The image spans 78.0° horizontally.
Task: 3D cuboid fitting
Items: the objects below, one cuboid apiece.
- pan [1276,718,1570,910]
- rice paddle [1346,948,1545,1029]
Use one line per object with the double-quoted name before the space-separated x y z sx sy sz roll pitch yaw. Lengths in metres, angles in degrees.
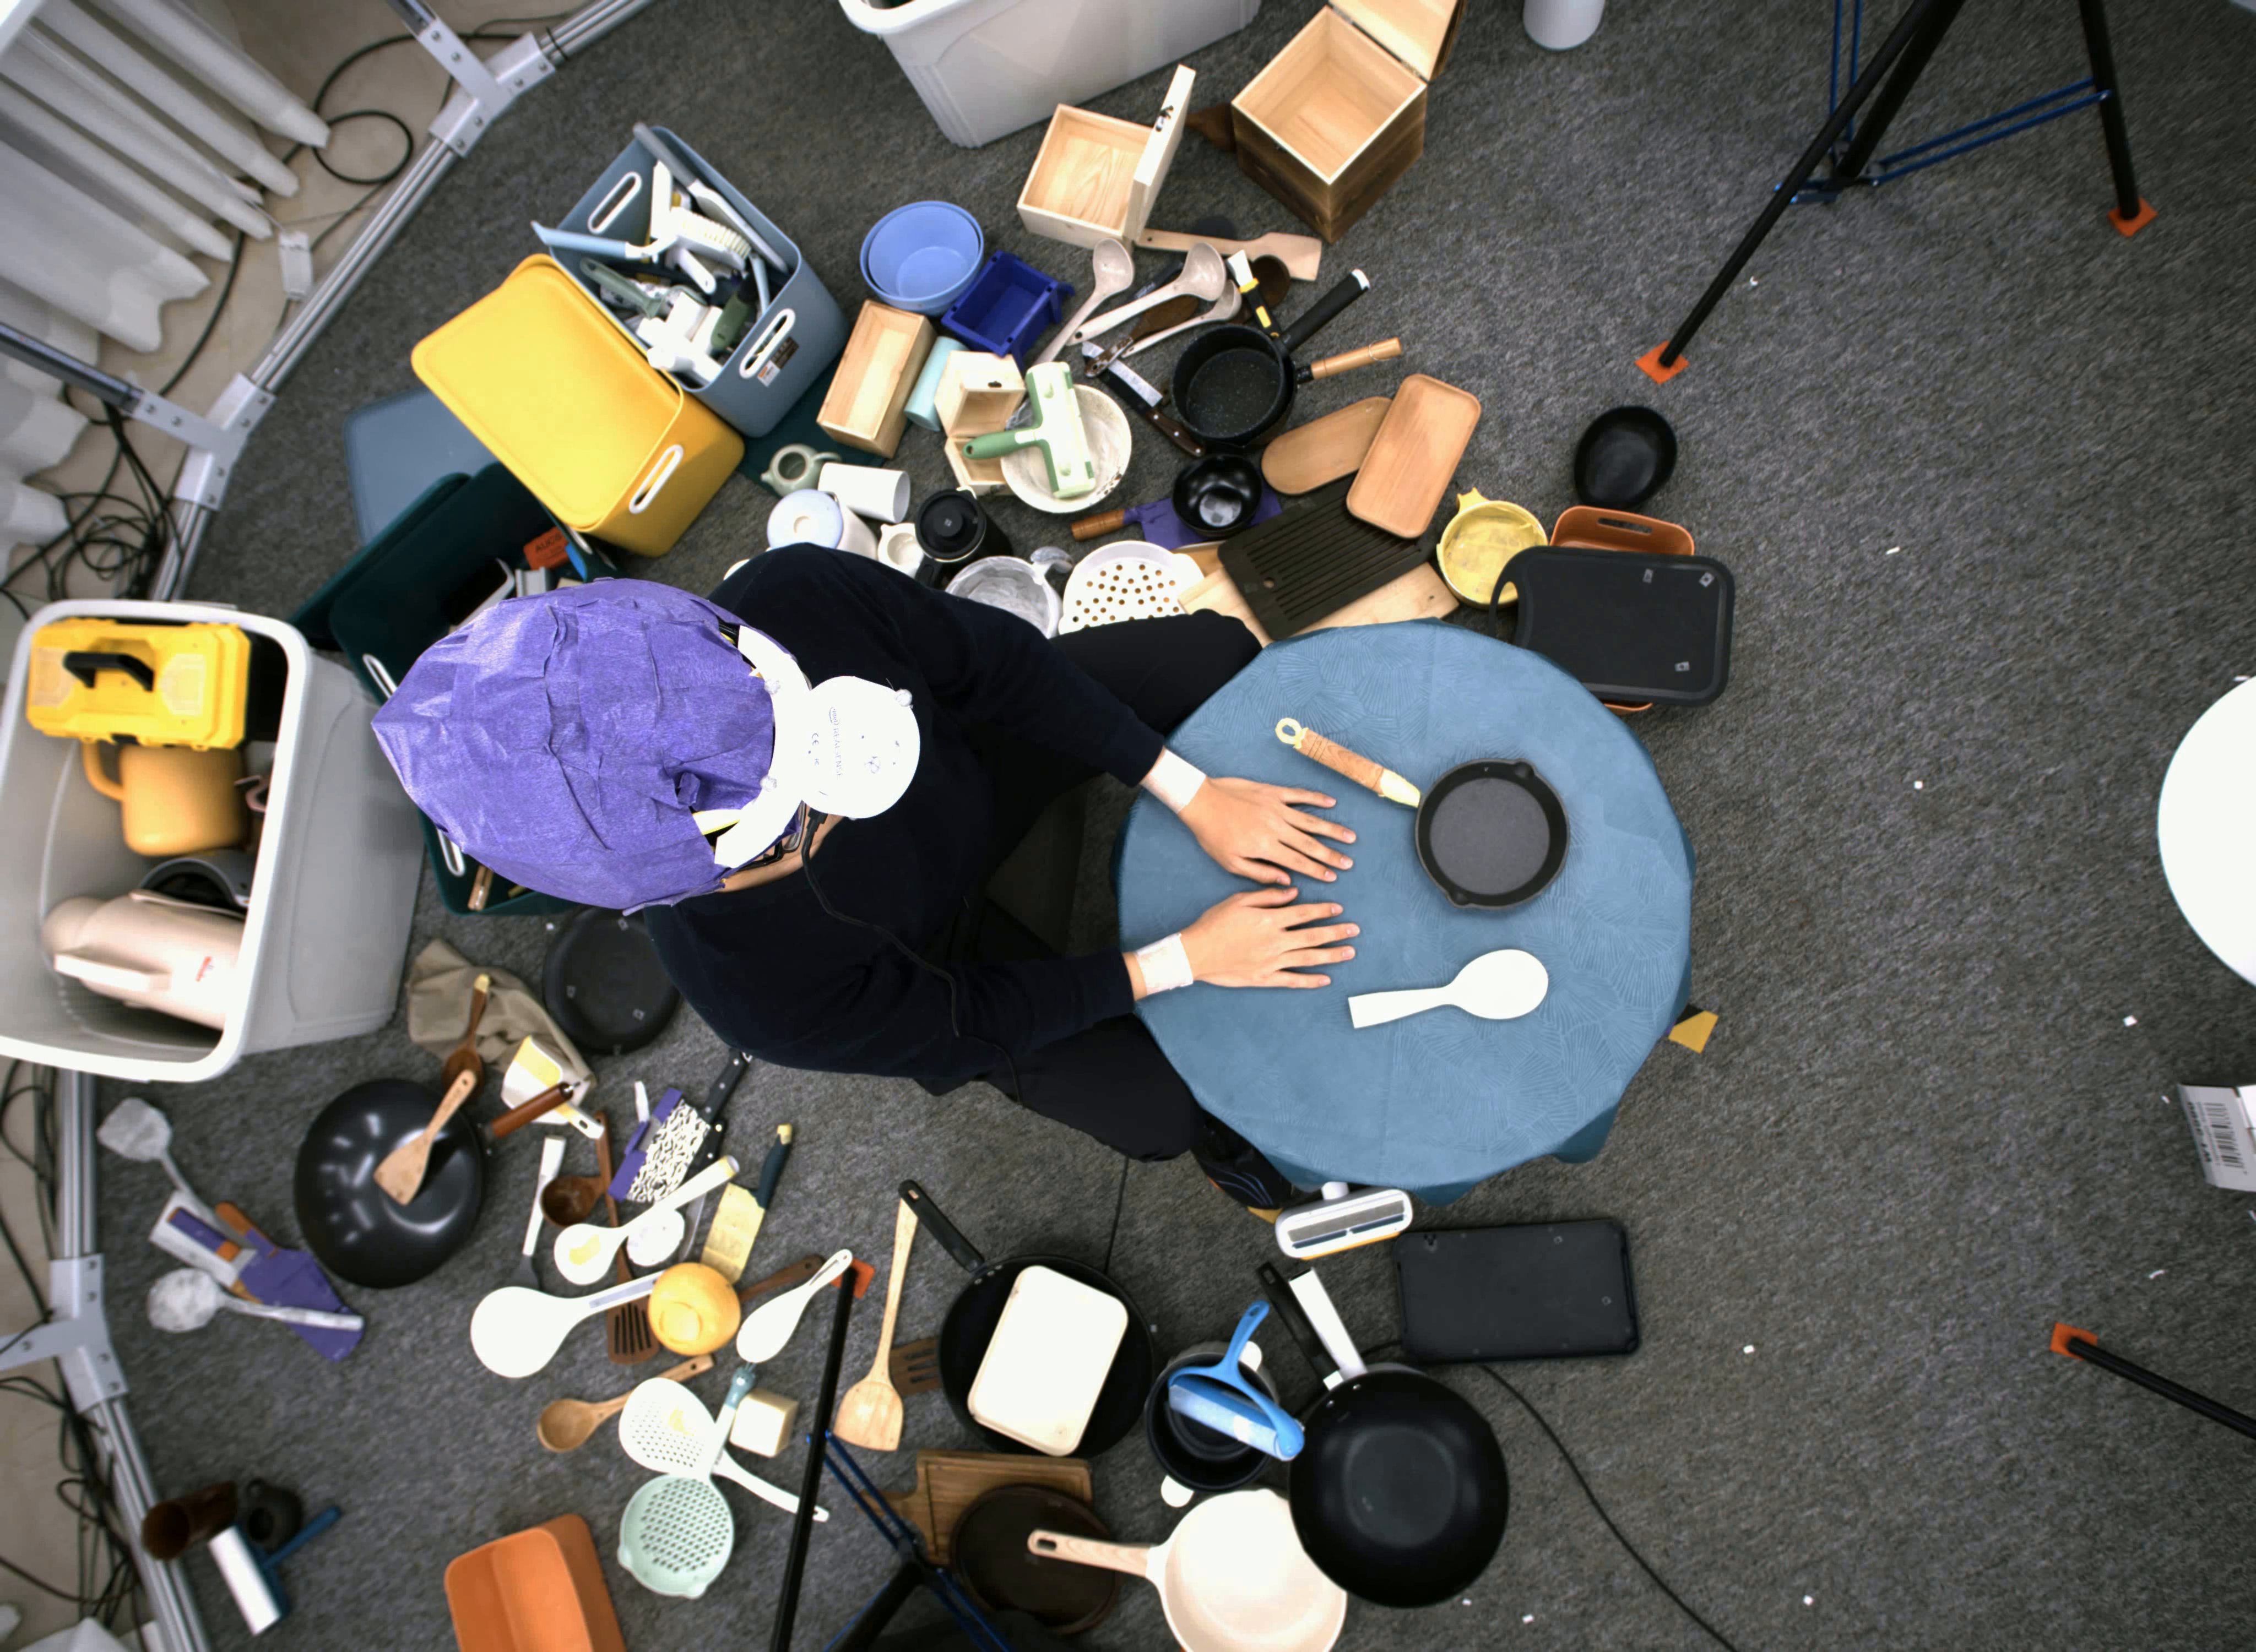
"pan" 0.302 -0.033 1.434 0.324 0.049 0.169 29 92 9
"rice paddle" 0.329 0.172 1.429 0.206 0.029 0.068 -13 86 10
